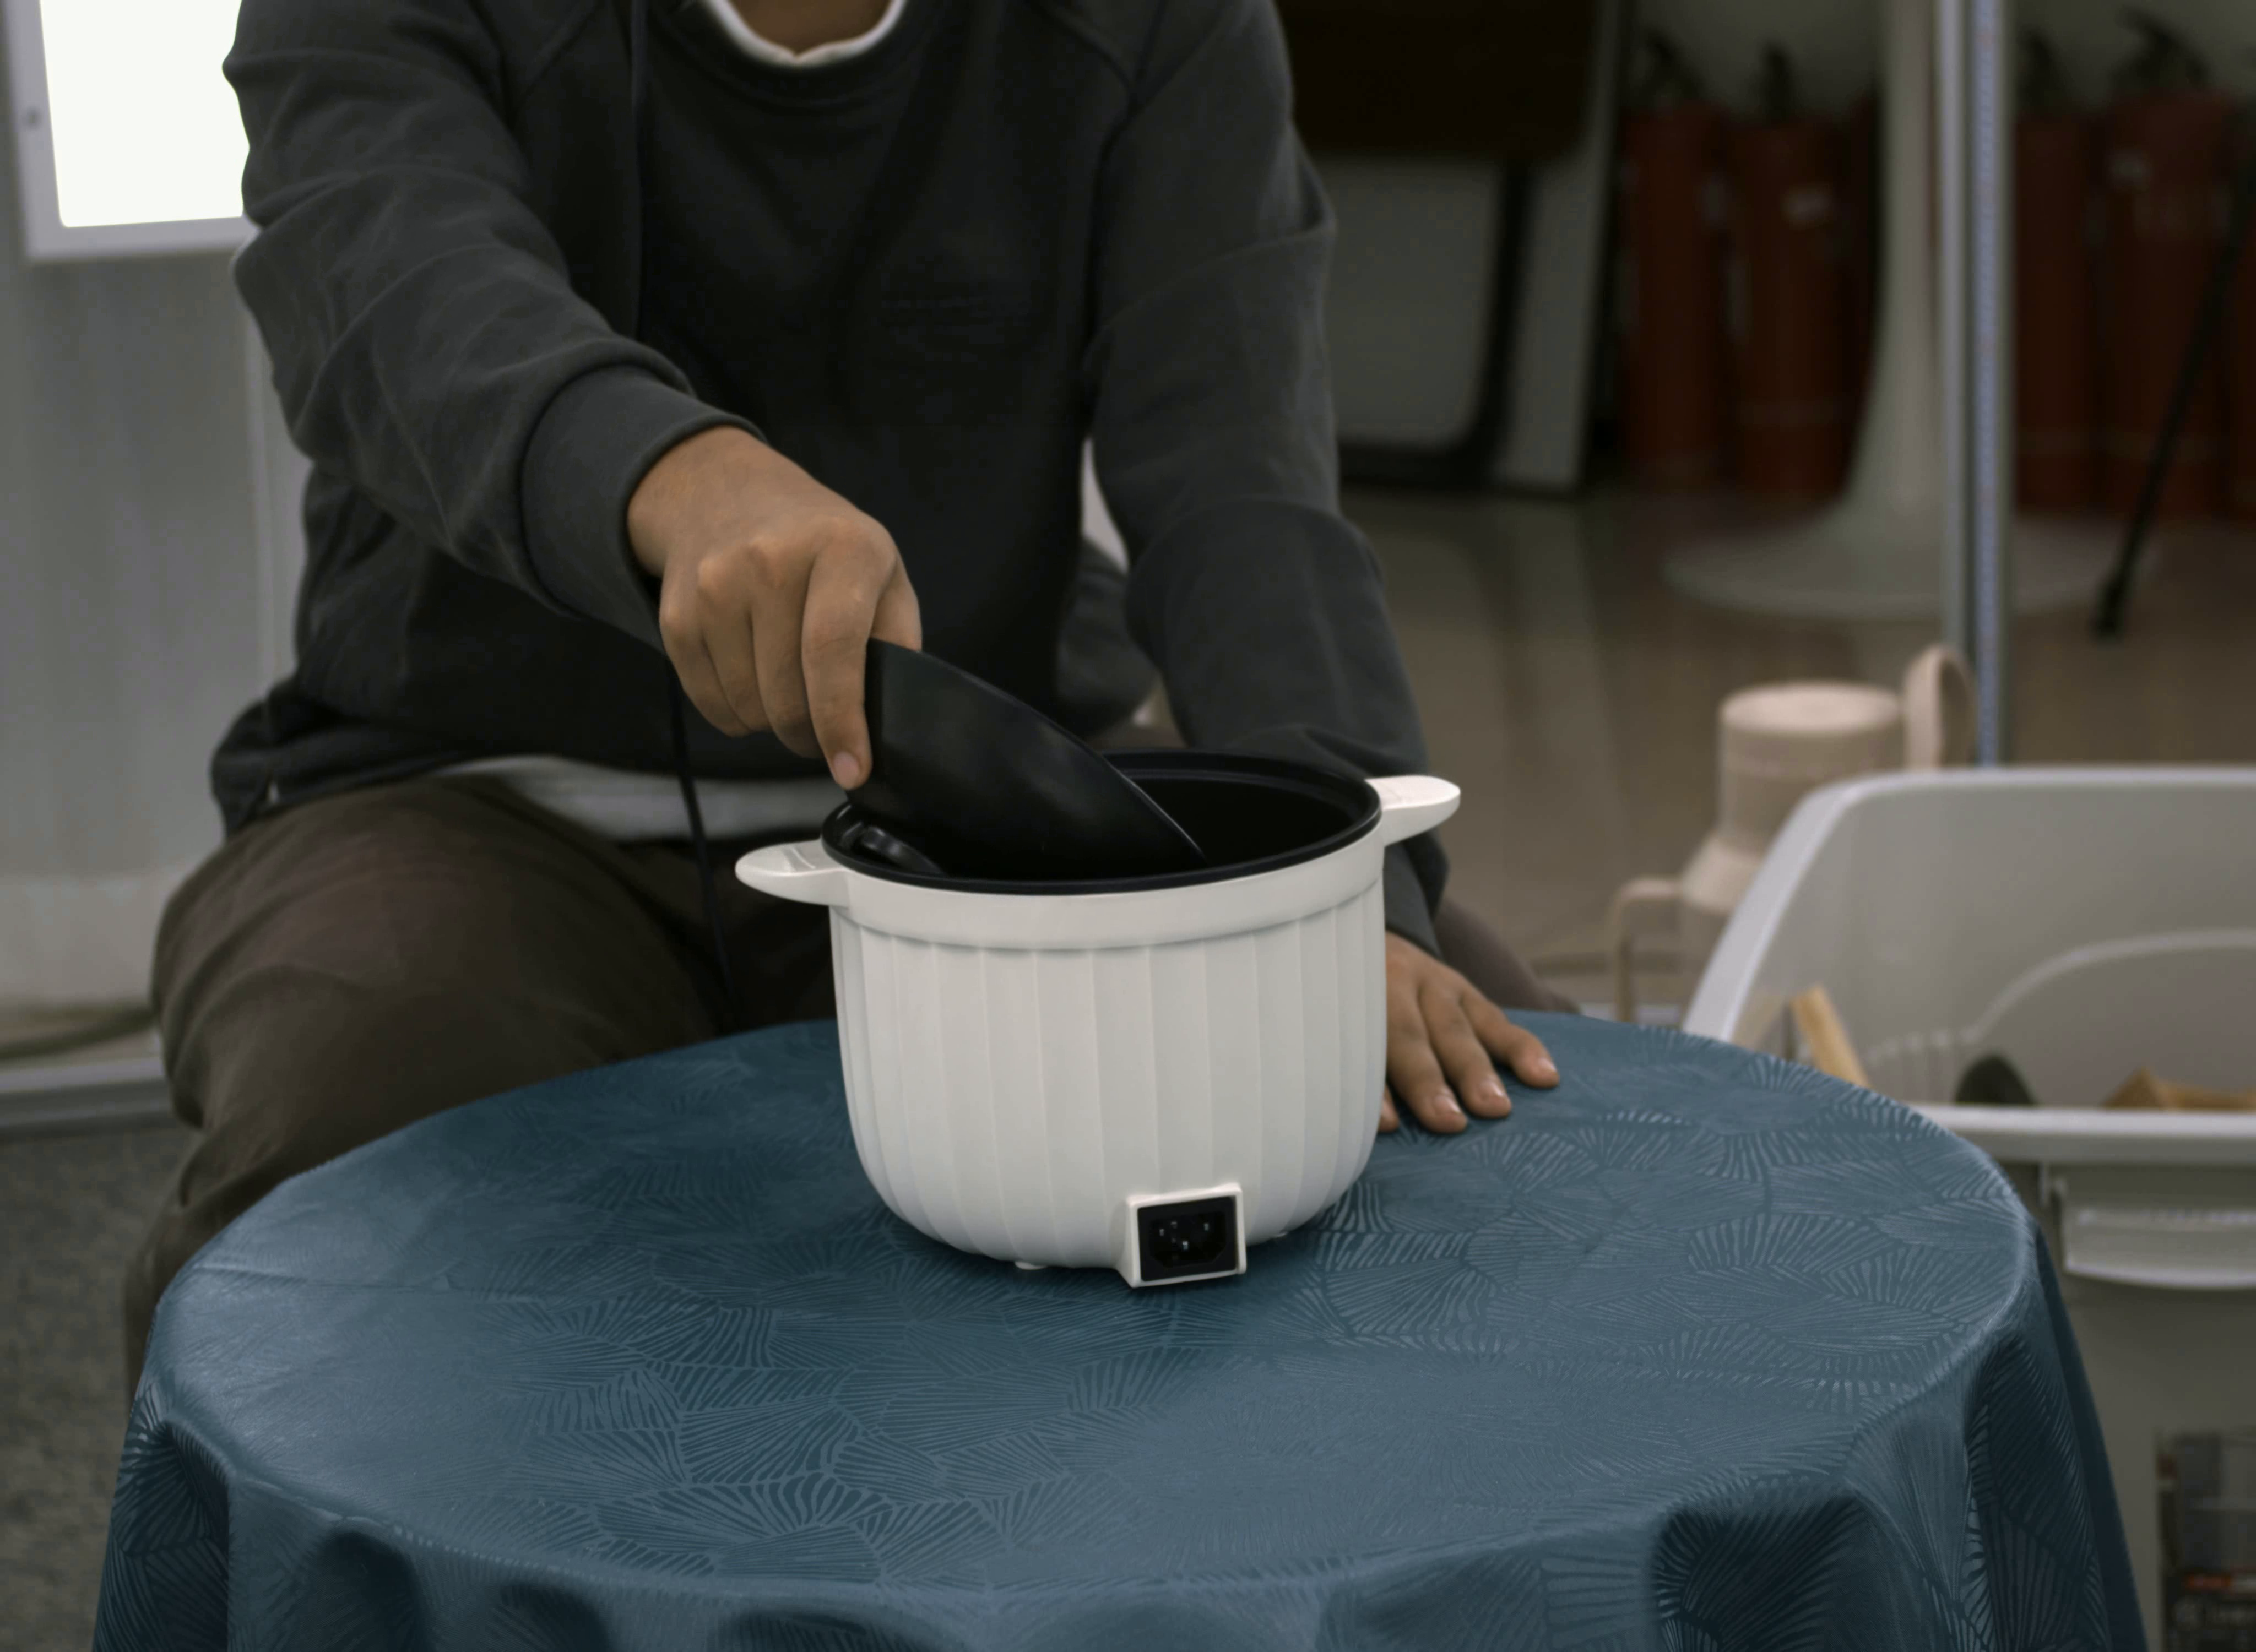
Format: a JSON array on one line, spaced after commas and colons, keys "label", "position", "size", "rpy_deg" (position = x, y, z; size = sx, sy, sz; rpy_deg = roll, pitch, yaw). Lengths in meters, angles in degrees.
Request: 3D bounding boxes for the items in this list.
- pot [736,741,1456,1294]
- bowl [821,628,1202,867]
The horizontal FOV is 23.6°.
[{"label": "pot", "position": [-0.008, 0.059, 1.740], "size": [0.236, 0.144, 0.192], "rpy_deg": [-6, 17, -13]}, {"label": "bowl", "position": [-0.040, 0.006, 1.717], "size": [0.066, 0.169, 0.138], "rpy_deg": [-50, 21, -12]}]
